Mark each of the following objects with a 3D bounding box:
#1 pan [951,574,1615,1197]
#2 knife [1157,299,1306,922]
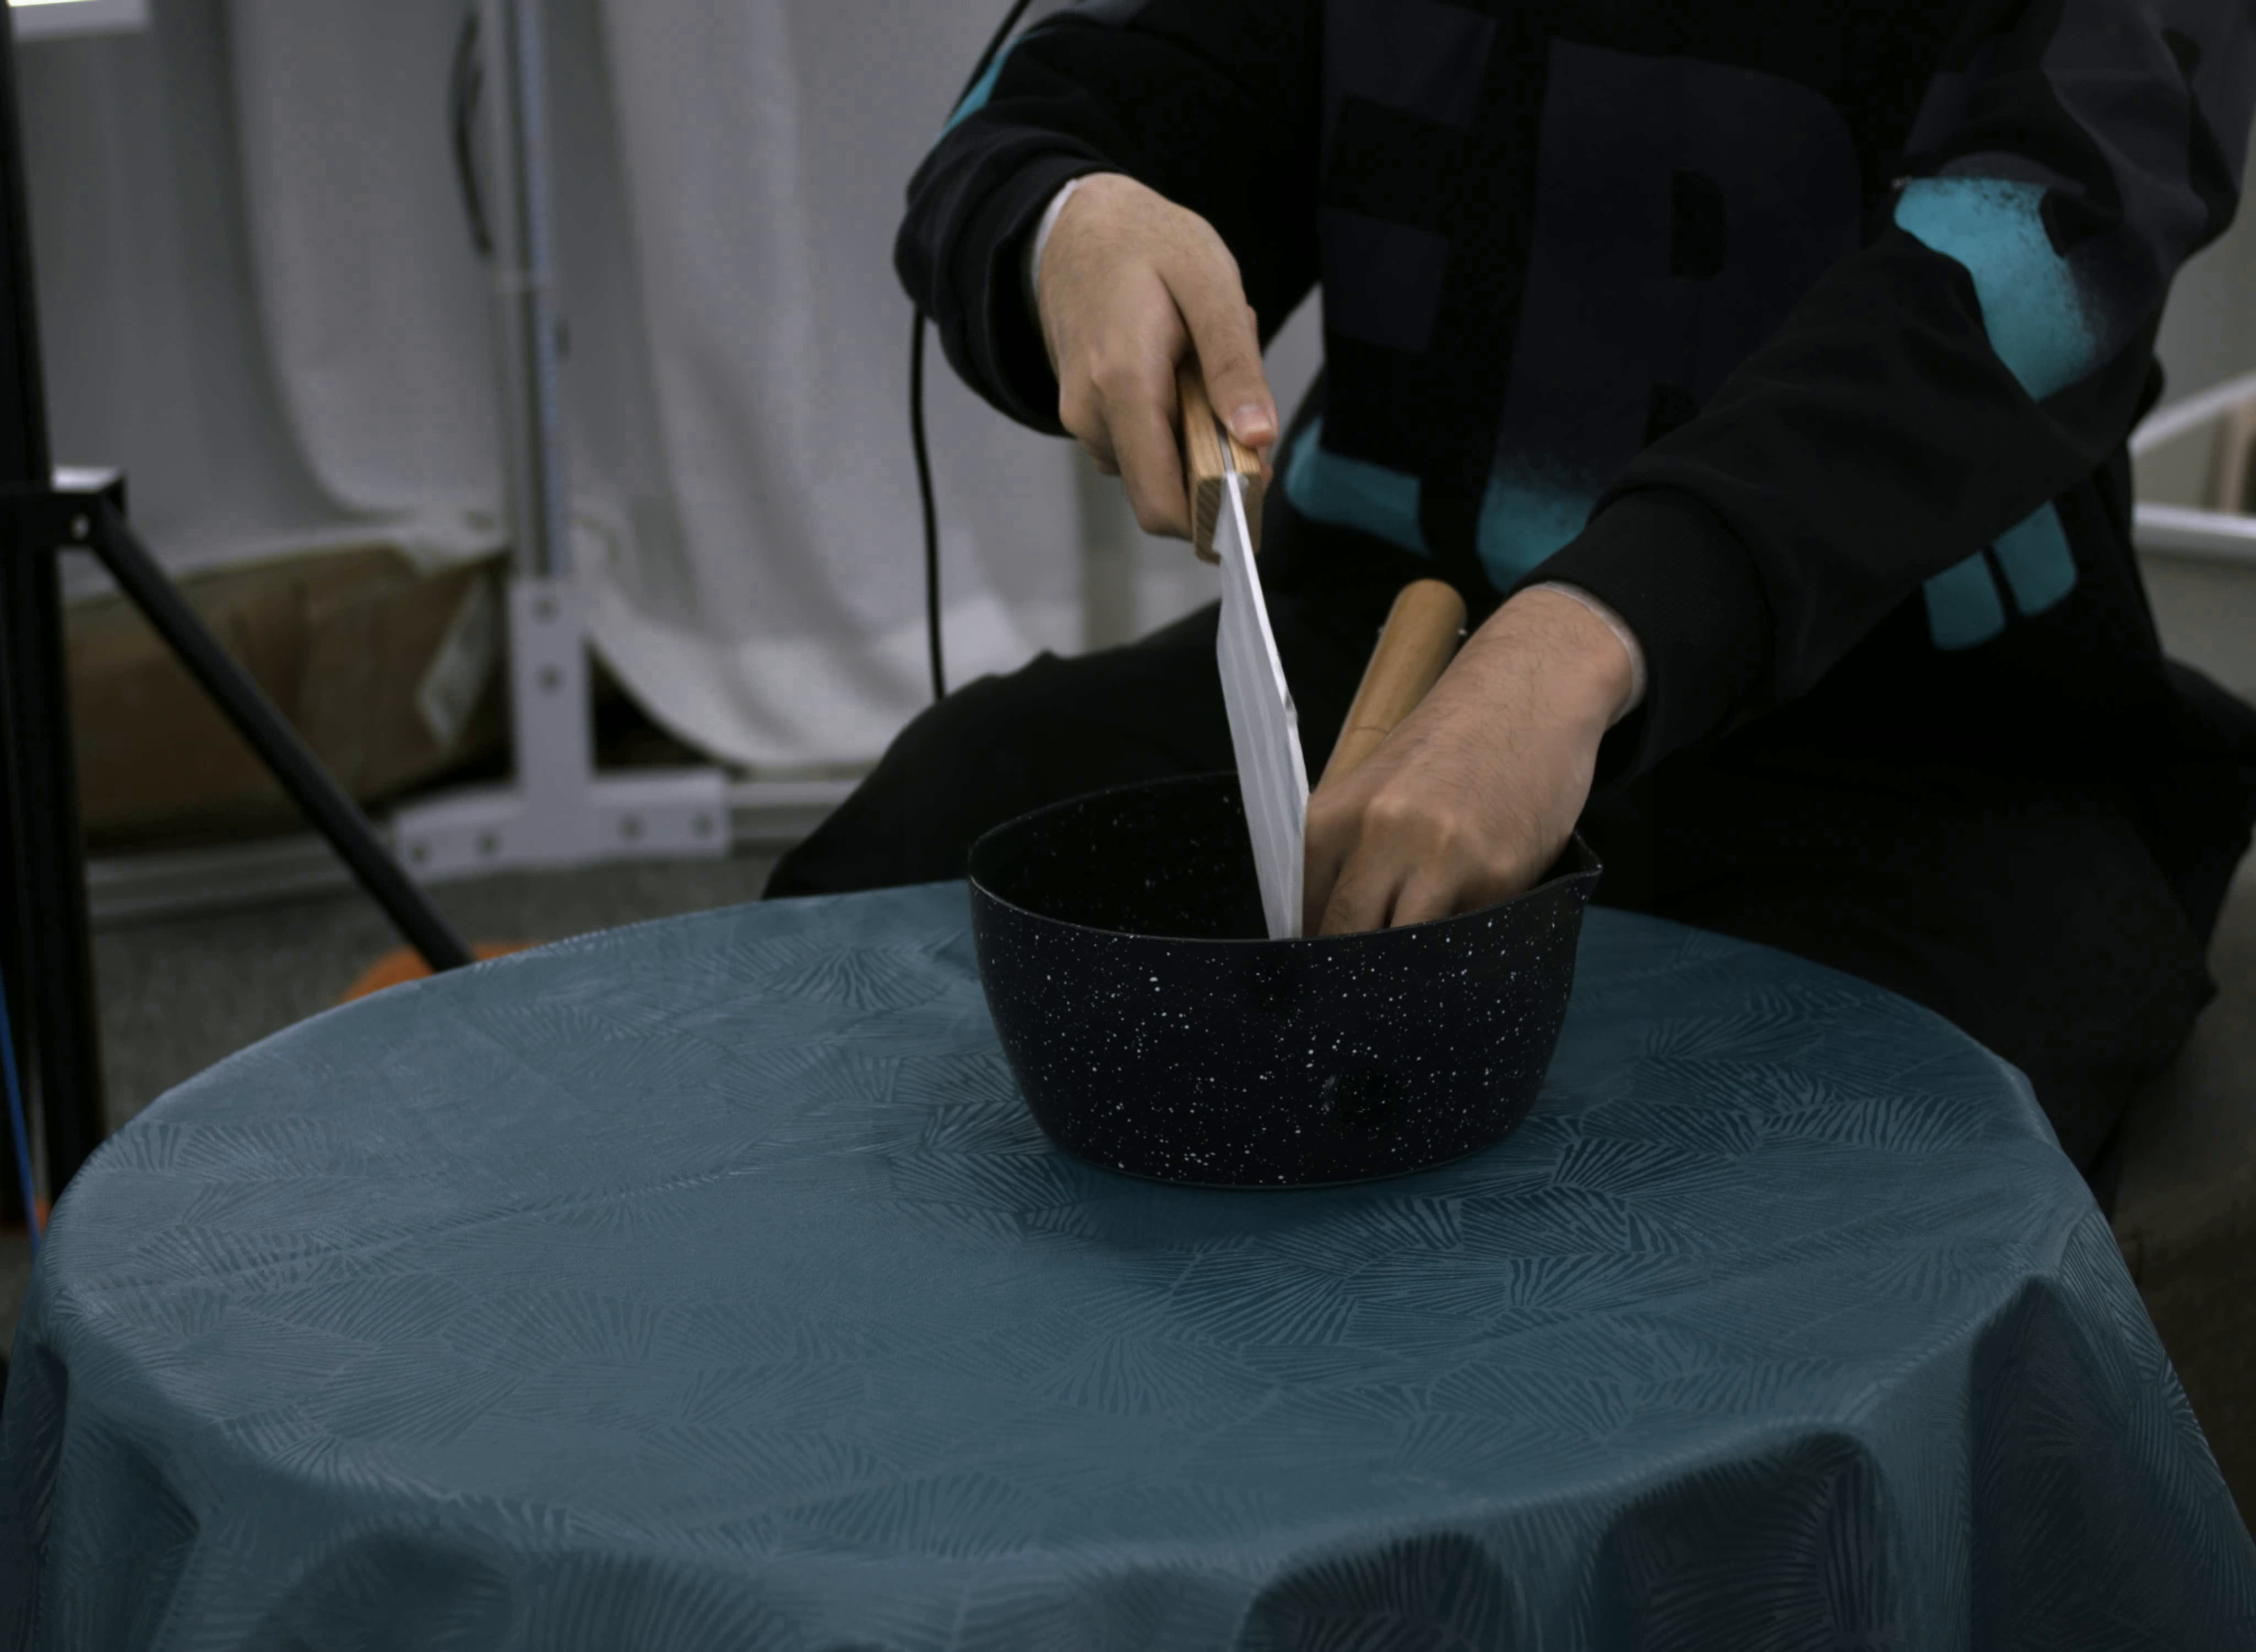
[{"bbox_3d":[0.062,0.014,1.679,0.209,0.108,0.341,0,17,13],"label":"pan"},{"bbox_3d":[0.035,-0.066,1.646,0.021,0.113,0.319,-2,39,-5],"label":"knife"}]
